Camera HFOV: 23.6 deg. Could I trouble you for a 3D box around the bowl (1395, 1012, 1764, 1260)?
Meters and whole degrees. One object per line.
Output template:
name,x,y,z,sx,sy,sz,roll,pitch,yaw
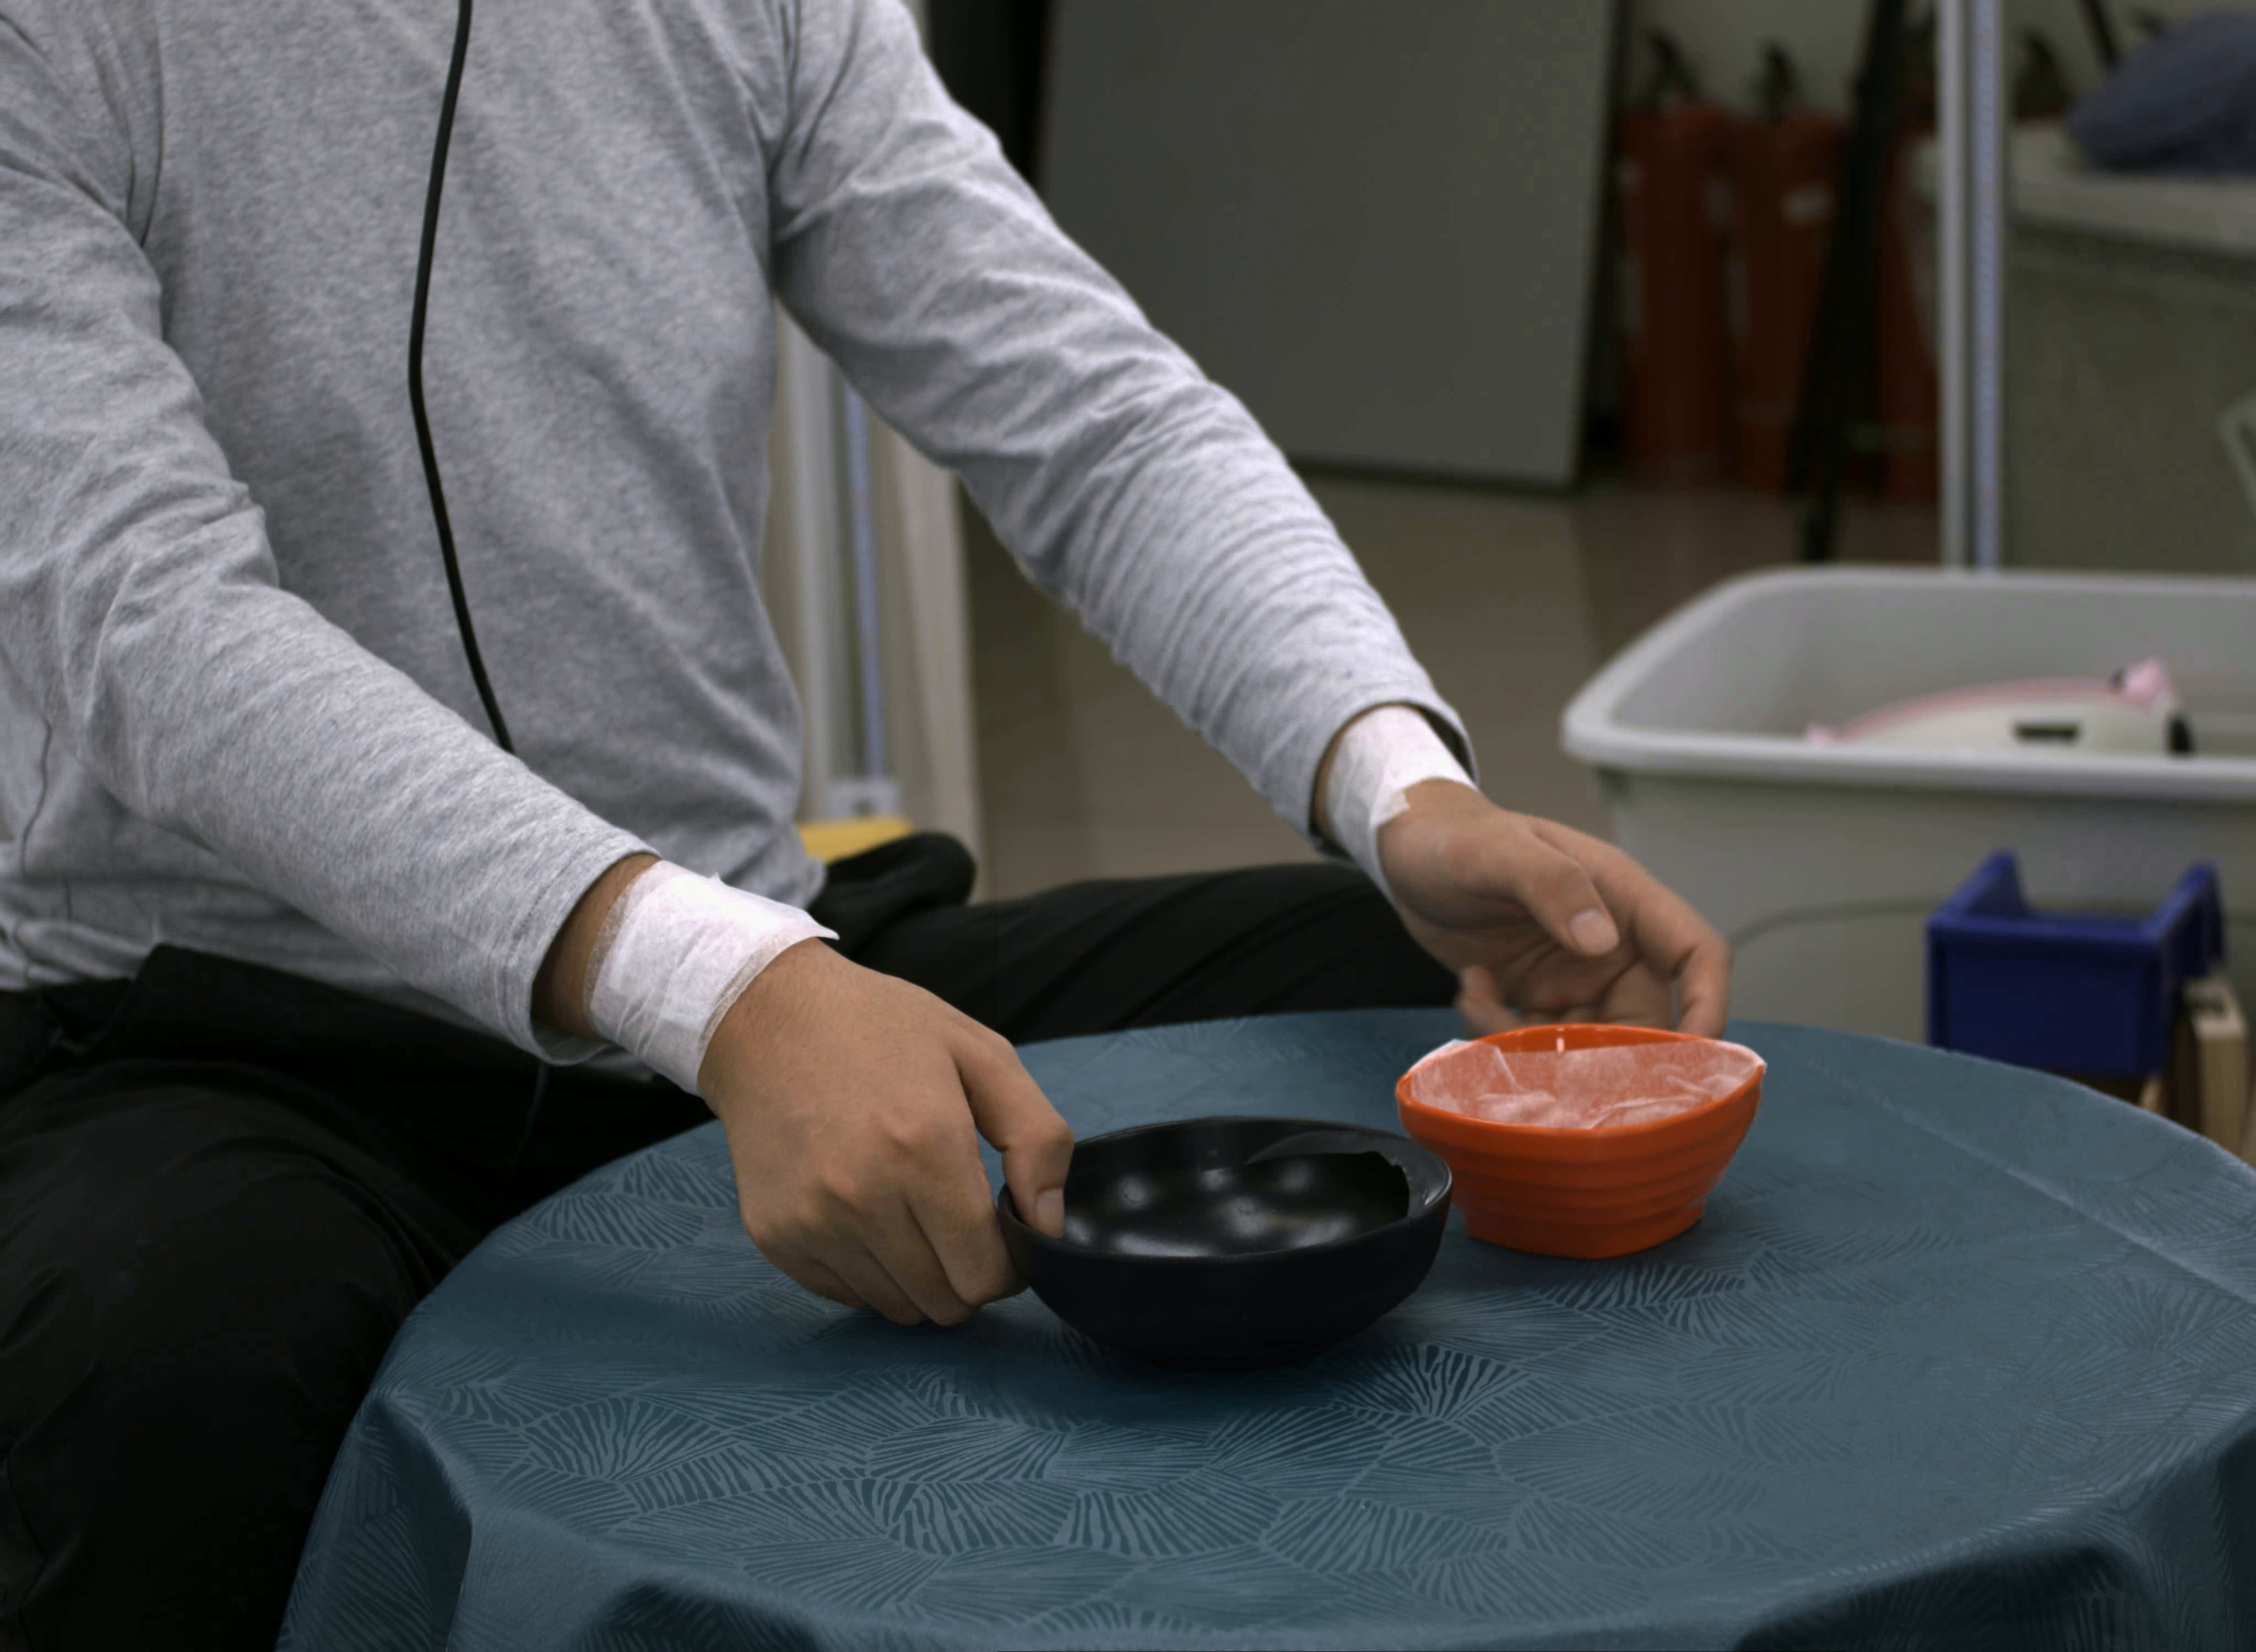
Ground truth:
bowl,0.144,0.100,1.704,0.117,0.052,0.119,-3,16,0

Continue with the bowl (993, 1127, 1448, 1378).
bowl,0.030,0.132,1.623,0.138,0.050,0.140,-5,11,0
